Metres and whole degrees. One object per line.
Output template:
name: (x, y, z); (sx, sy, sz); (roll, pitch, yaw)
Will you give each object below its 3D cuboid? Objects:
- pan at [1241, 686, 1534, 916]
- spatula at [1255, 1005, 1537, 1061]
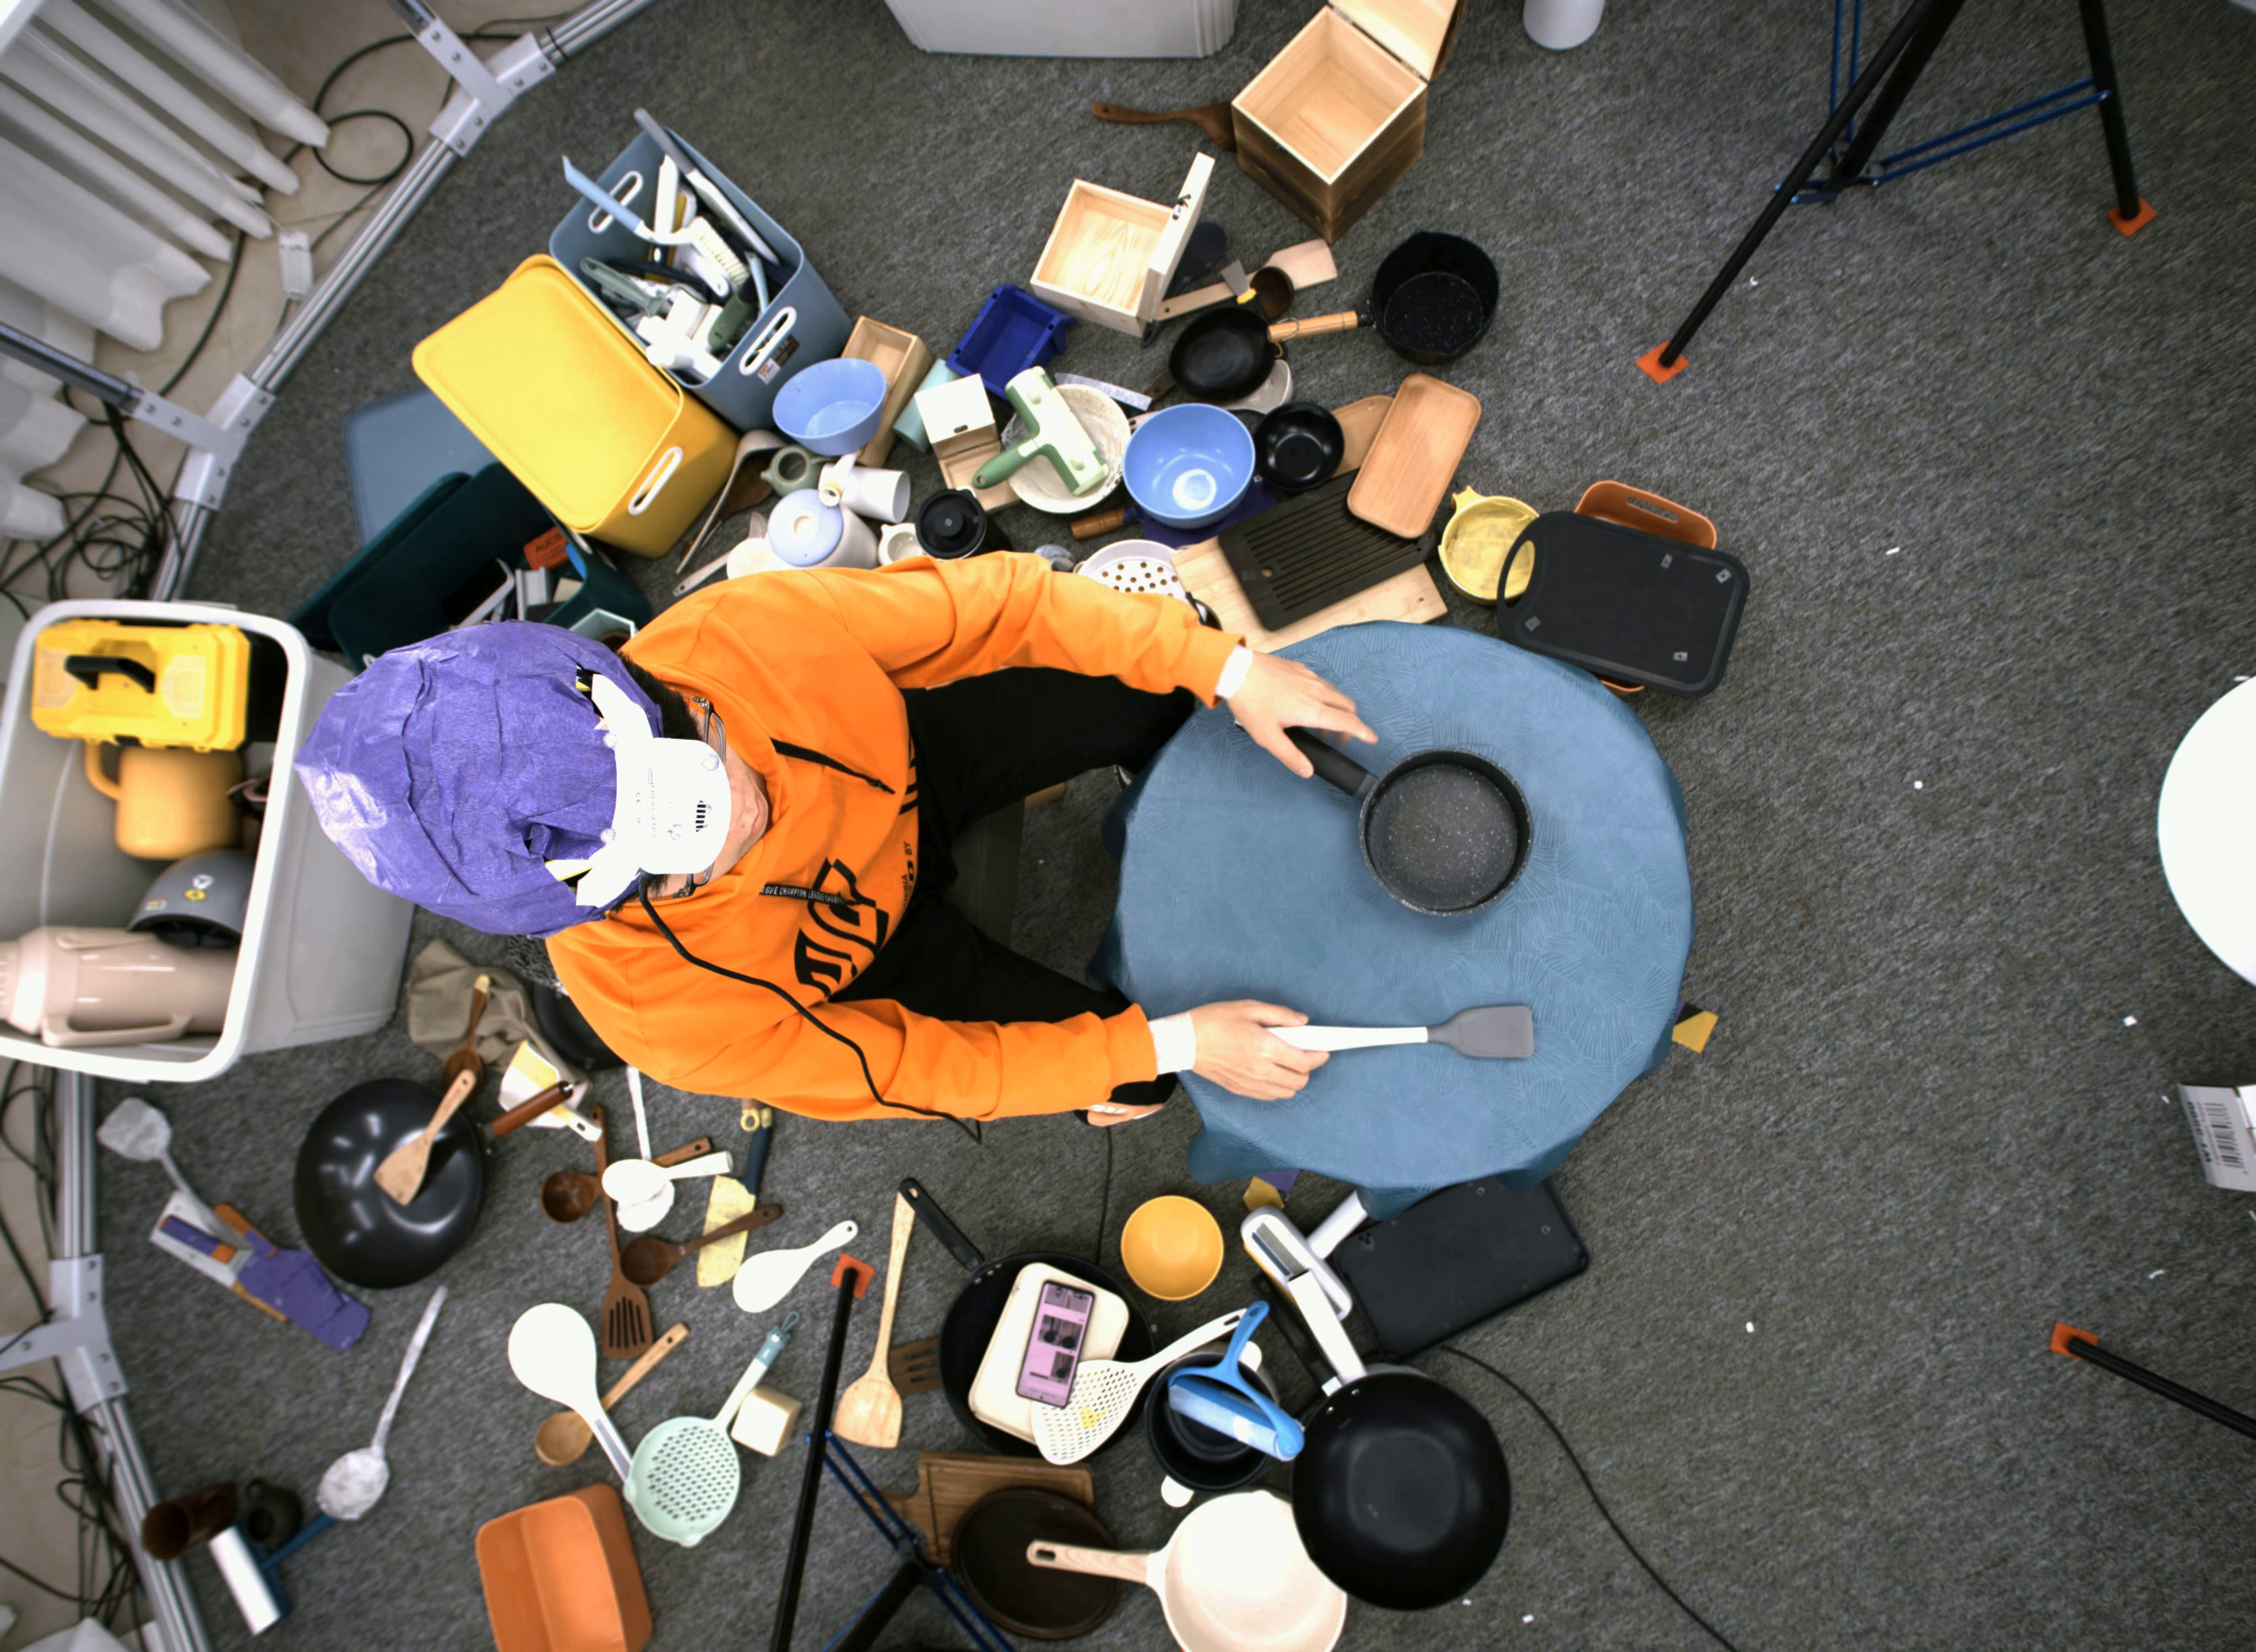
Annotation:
pan: (0.259, -0.037, 1.425); (0.328, 0.086, 0.172); (34, 92, 9)
spatula: (0.276, 0.216, 1.430); (0.288, 0.032, 0.058); (-2, 79, 4)
